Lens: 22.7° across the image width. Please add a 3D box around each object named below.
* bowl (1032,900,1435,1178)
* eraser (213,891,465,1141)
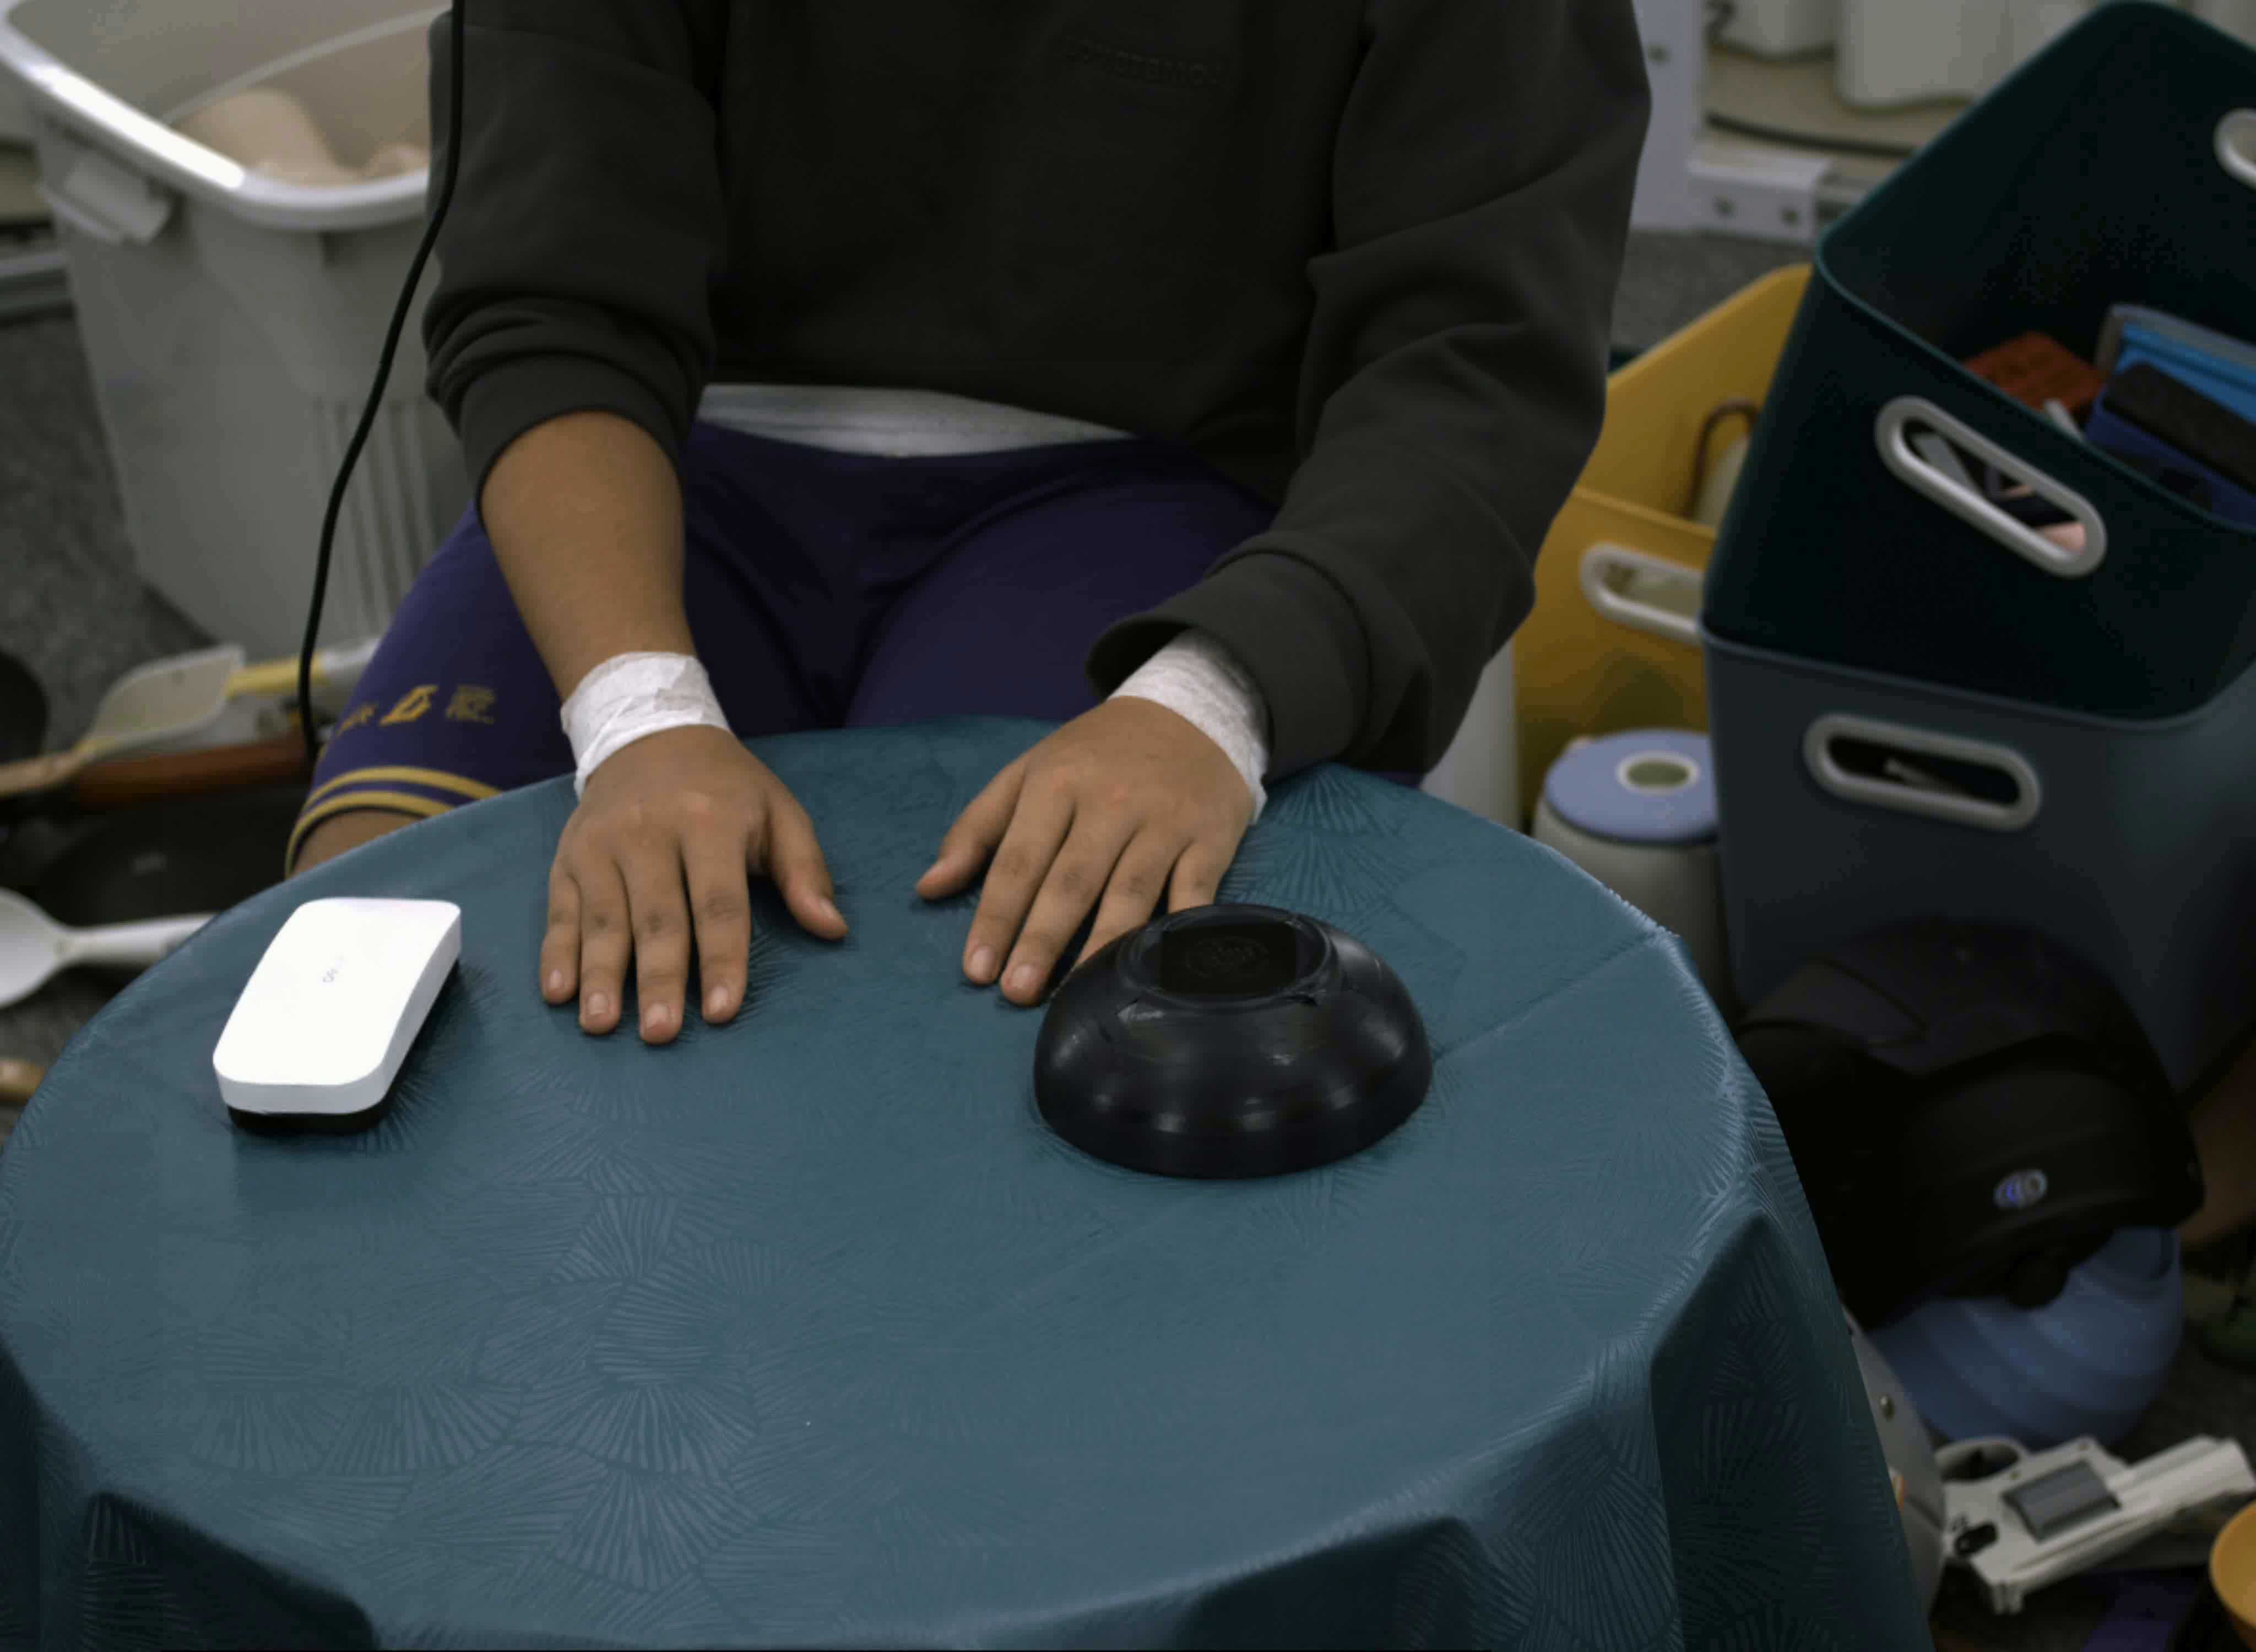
[{"bbox_3d":[0.034,0.063,1.916,0.139,0.049,0.142,-3,28,2],"label":"bowl"},{"bbox_3d":[-0.273,0.064,1.967,0.063,0.034,0.133,3,30,10],"label":"eraser"}]
